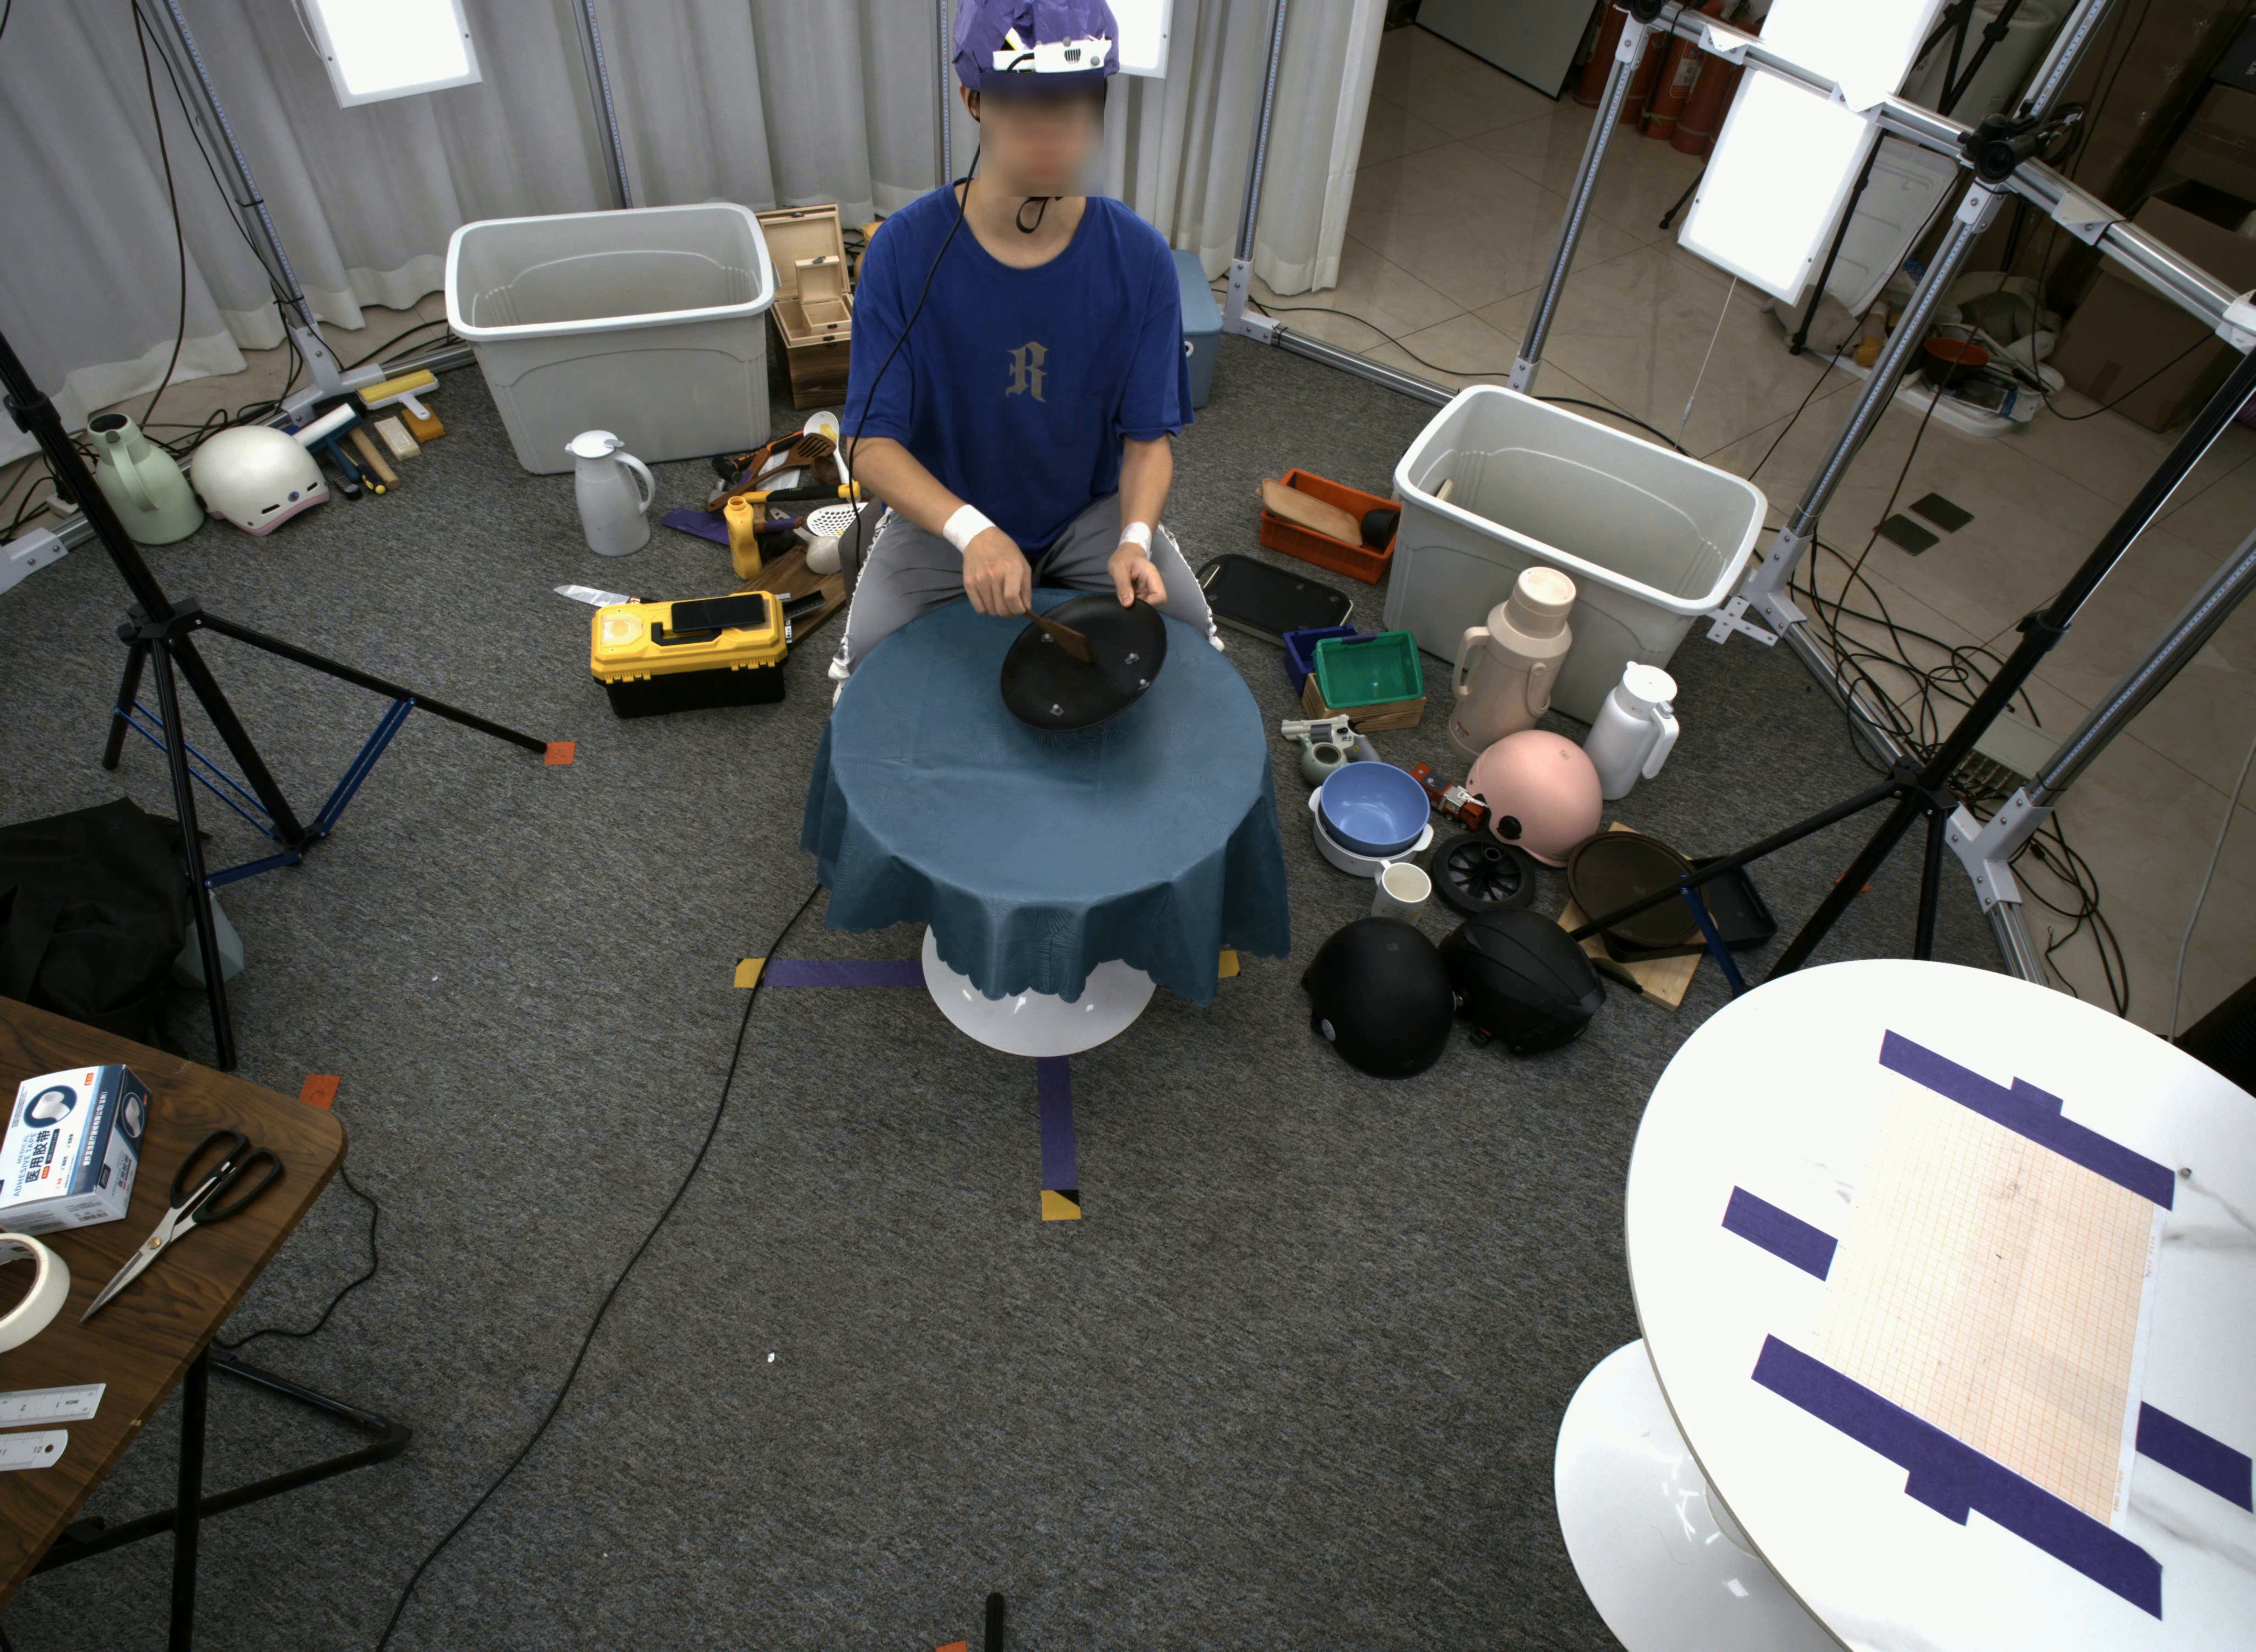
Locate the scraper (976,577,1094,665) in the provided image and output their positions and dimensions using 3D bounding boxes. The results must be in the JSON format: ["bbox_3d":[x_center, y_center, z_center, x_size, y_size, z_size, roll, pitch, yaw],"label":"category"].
[{"bbox_3d":[-0.131,-0.287,1.766,0.214,0.074,0.011,35,73,23],"label":"scraper"}]

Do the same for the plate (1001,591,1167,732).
[{"bbox_3d":[-0.059,-0.224,1.762,0.244,0.023,0.250,-12,53,16],"label":"plate"}]
